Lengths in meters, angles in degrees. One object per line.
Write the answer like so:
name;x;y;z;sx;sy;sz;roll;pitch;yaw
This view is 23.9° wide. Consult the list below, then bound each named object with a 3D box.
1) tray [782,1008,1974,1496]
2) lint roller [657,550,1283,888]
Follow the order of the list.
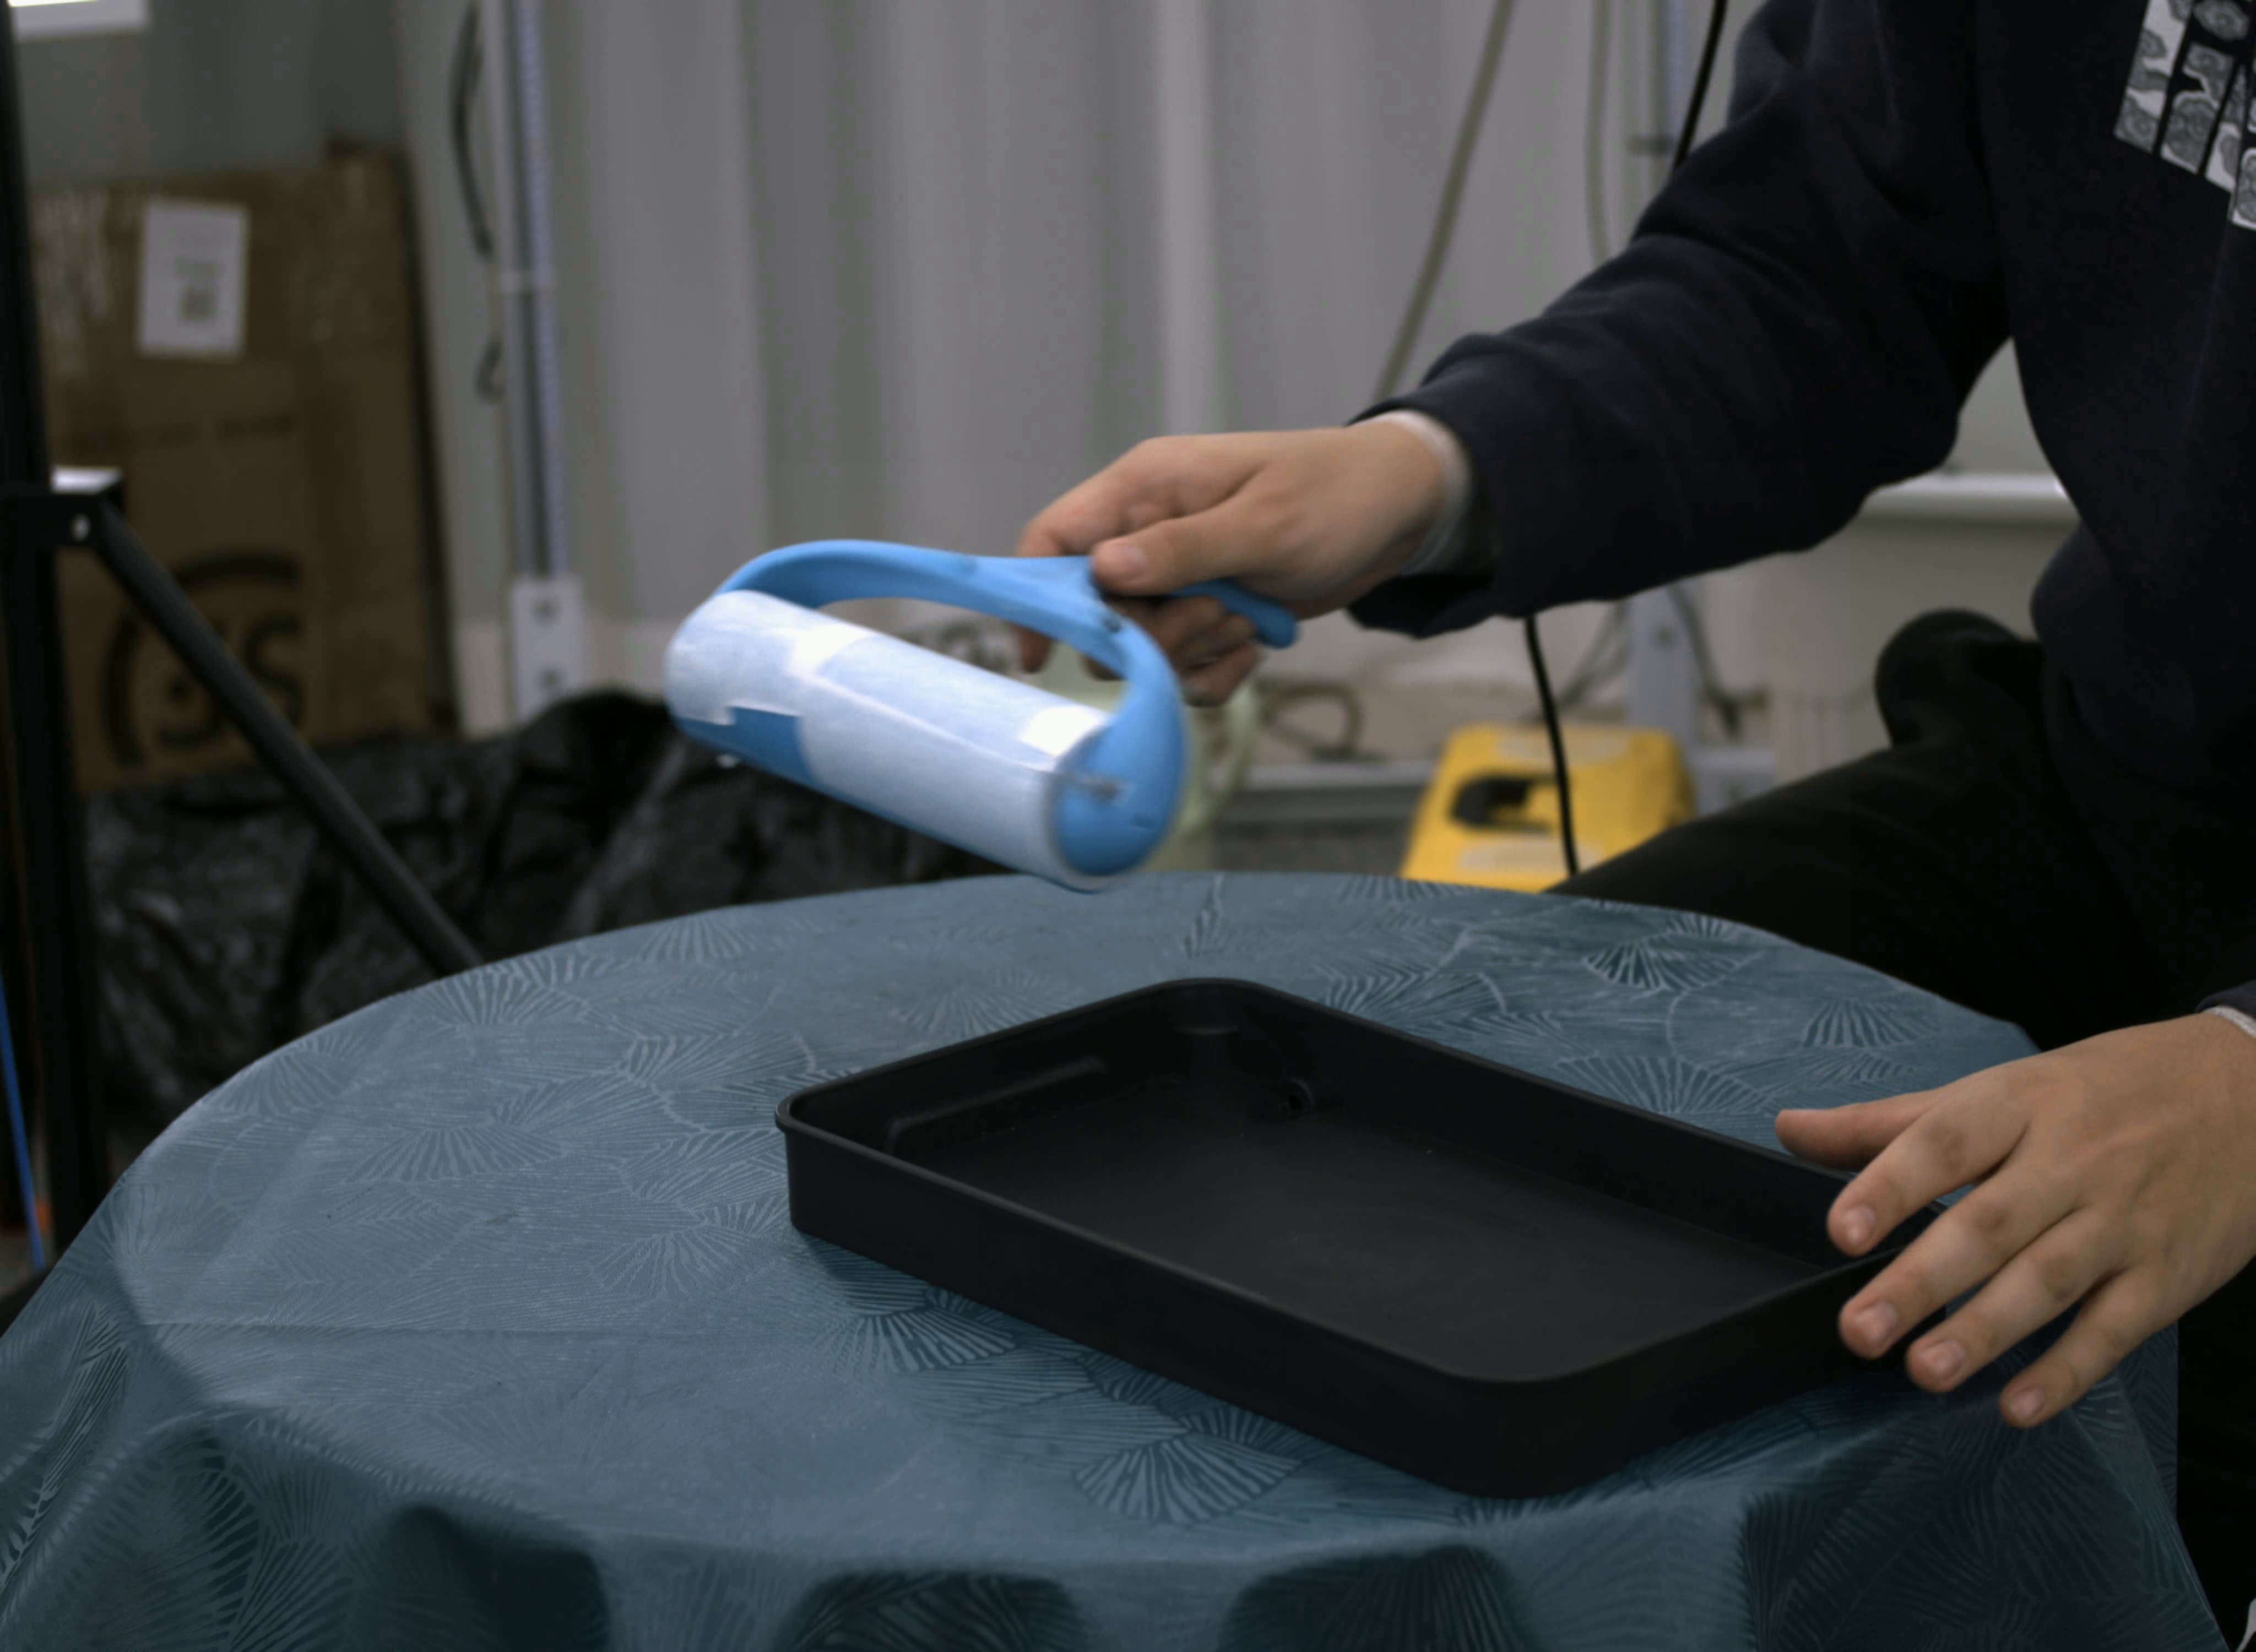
tray;0.064;0.113;1.477;0.180;0.037;0.325;-15;18;-38
lint roller;-0.028;-0.052;1.683;0.177;0.067;0.234;-29;26;-31
